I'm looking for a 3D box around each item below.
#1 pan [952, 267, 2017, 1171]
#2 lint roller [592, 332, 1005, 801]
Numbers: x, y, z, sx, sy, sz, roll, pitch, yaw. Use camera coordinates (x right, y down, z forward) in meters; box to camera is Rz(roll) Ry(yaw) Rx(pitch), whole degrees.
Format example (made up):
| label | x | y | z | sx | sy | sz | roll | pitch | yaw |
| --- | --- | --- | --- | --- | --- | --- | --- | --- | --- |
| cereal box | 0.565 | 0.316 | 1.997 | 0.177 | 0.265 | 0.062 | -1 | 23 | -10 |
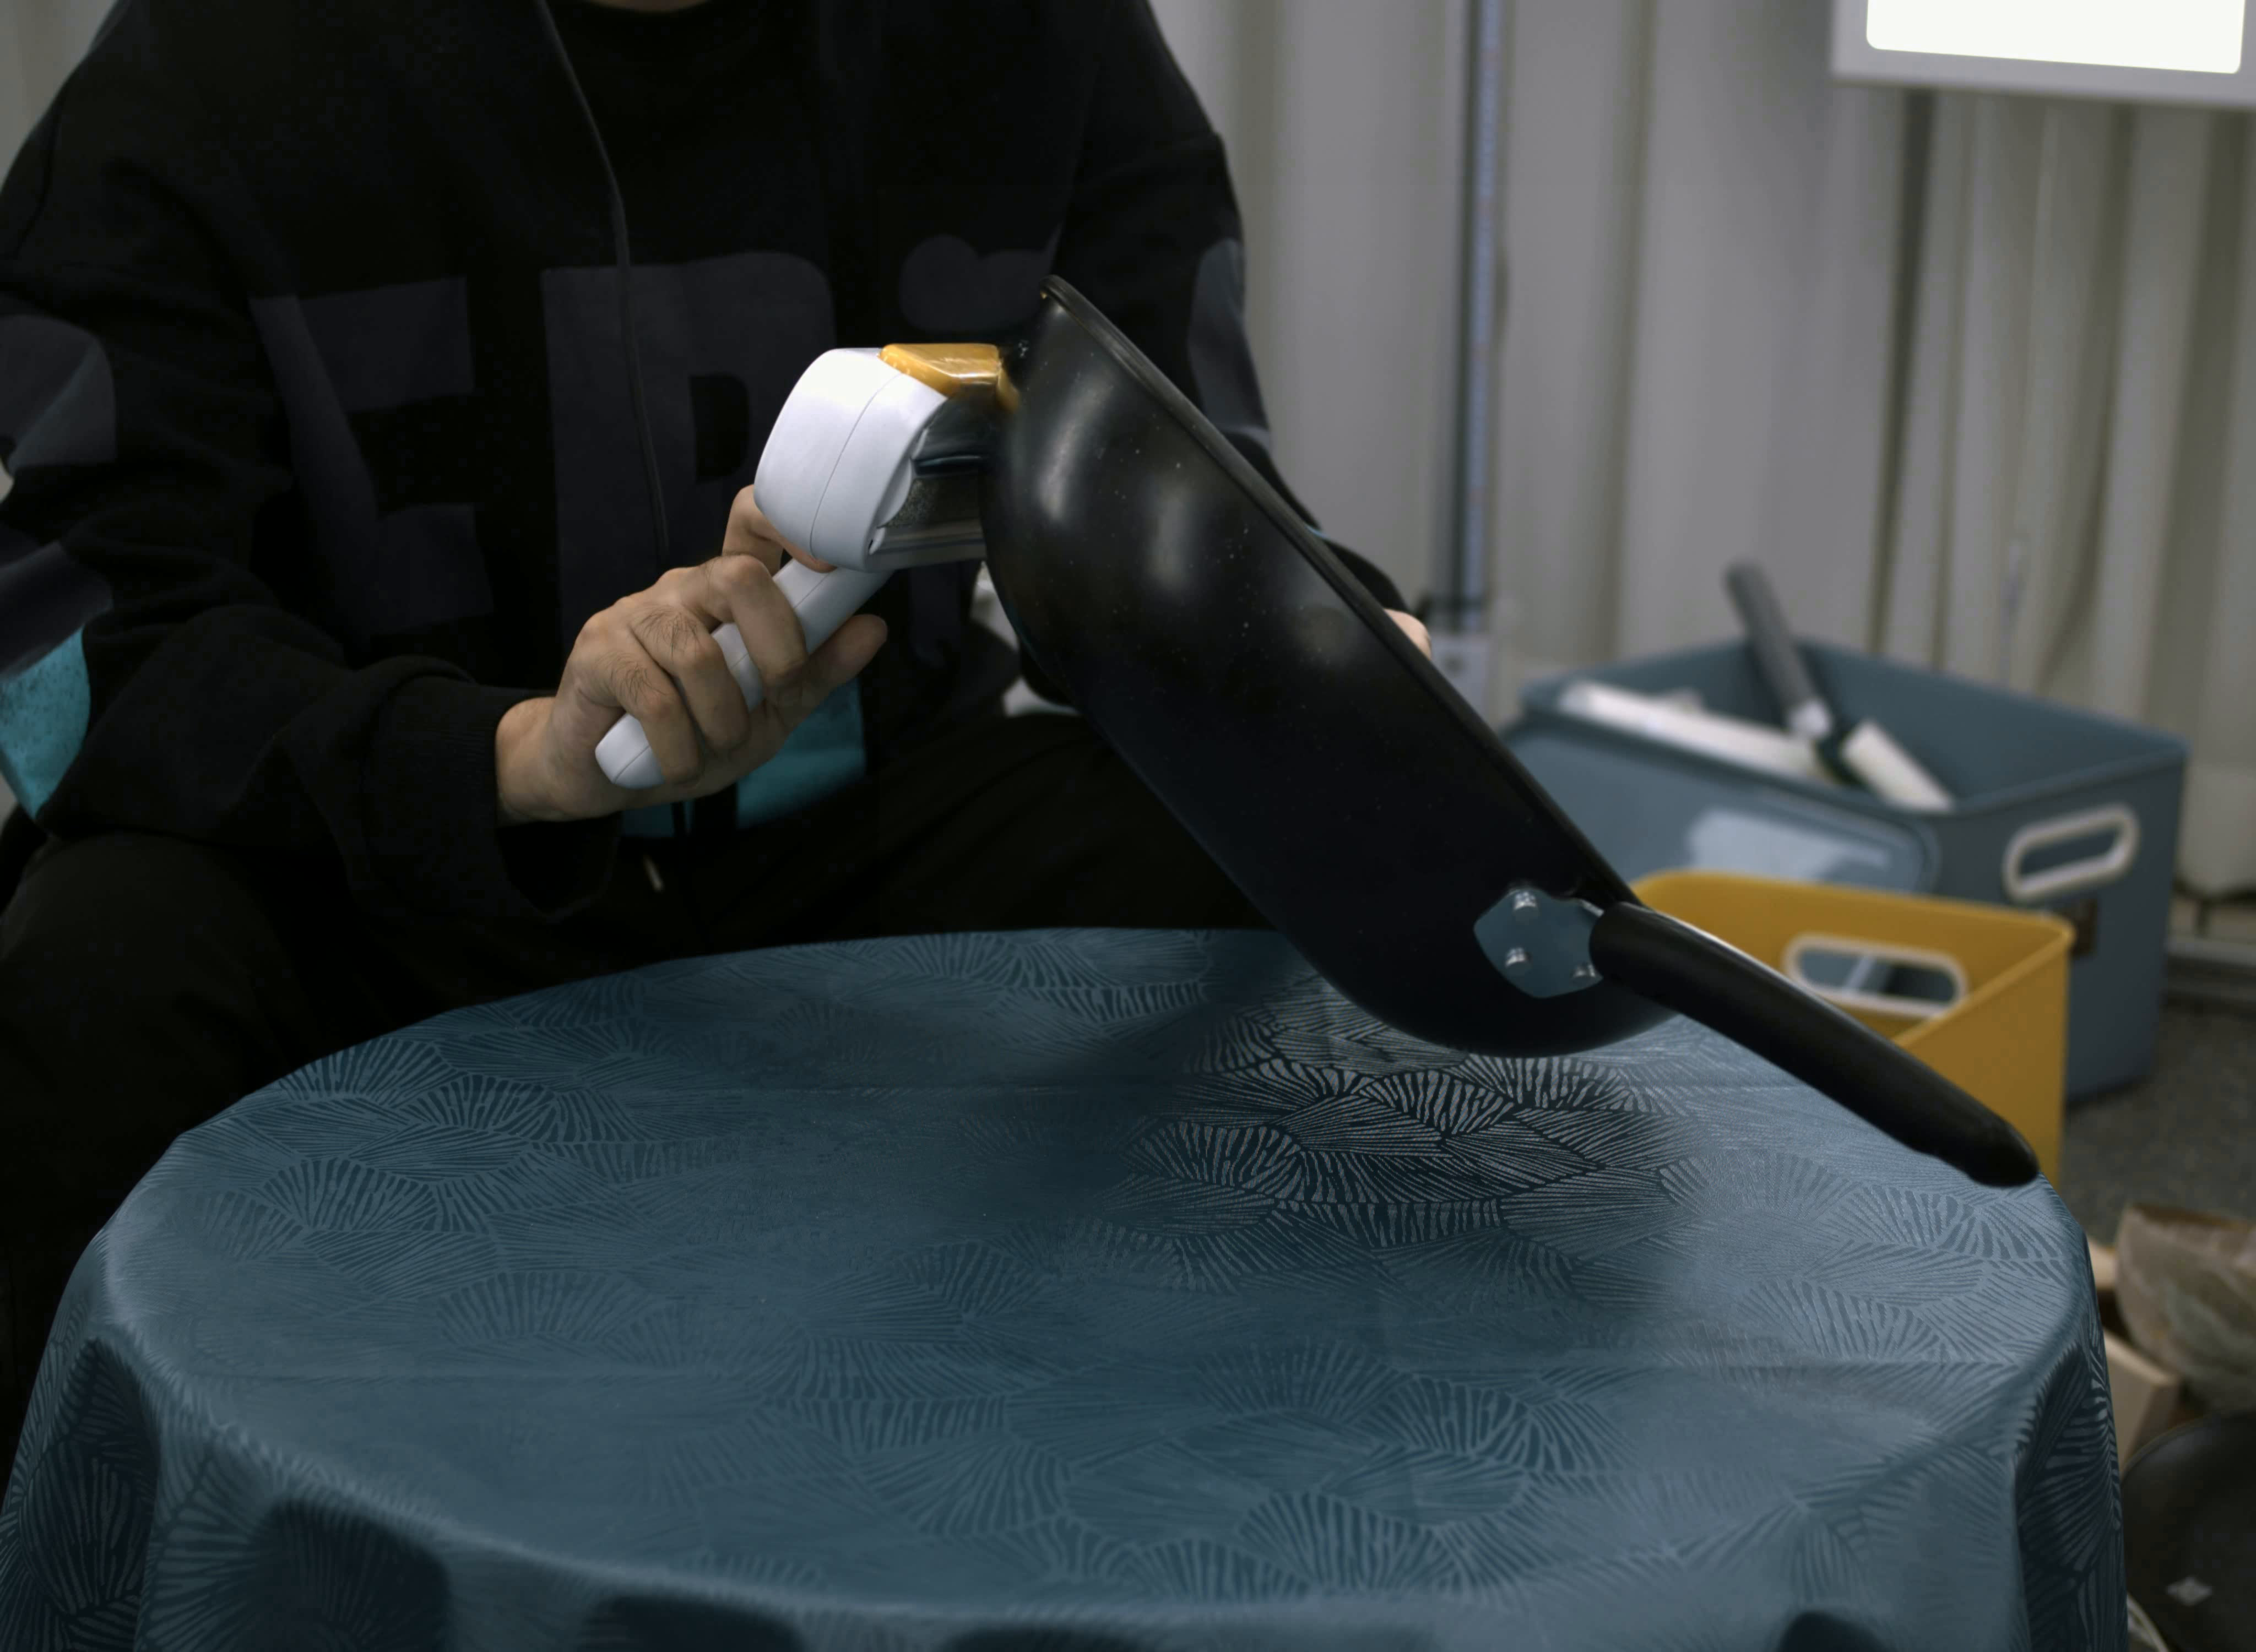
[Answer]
| label | x | y | z | sx | sy | sz | roll | pitch | yaw |
| --- | --- | --- | --- | --- | --- | --- | --- | --- | --- |
| pan | 0.090 | 0.001 | 1.583 | 0.314 | 0.111 | 0.470 | 45 | 2 | -44 |
| lint roller | -0.101 | -0.078 | 1.722 | 0.074 | 0.193 | 0.193 | 35 | 10 | 6 |
